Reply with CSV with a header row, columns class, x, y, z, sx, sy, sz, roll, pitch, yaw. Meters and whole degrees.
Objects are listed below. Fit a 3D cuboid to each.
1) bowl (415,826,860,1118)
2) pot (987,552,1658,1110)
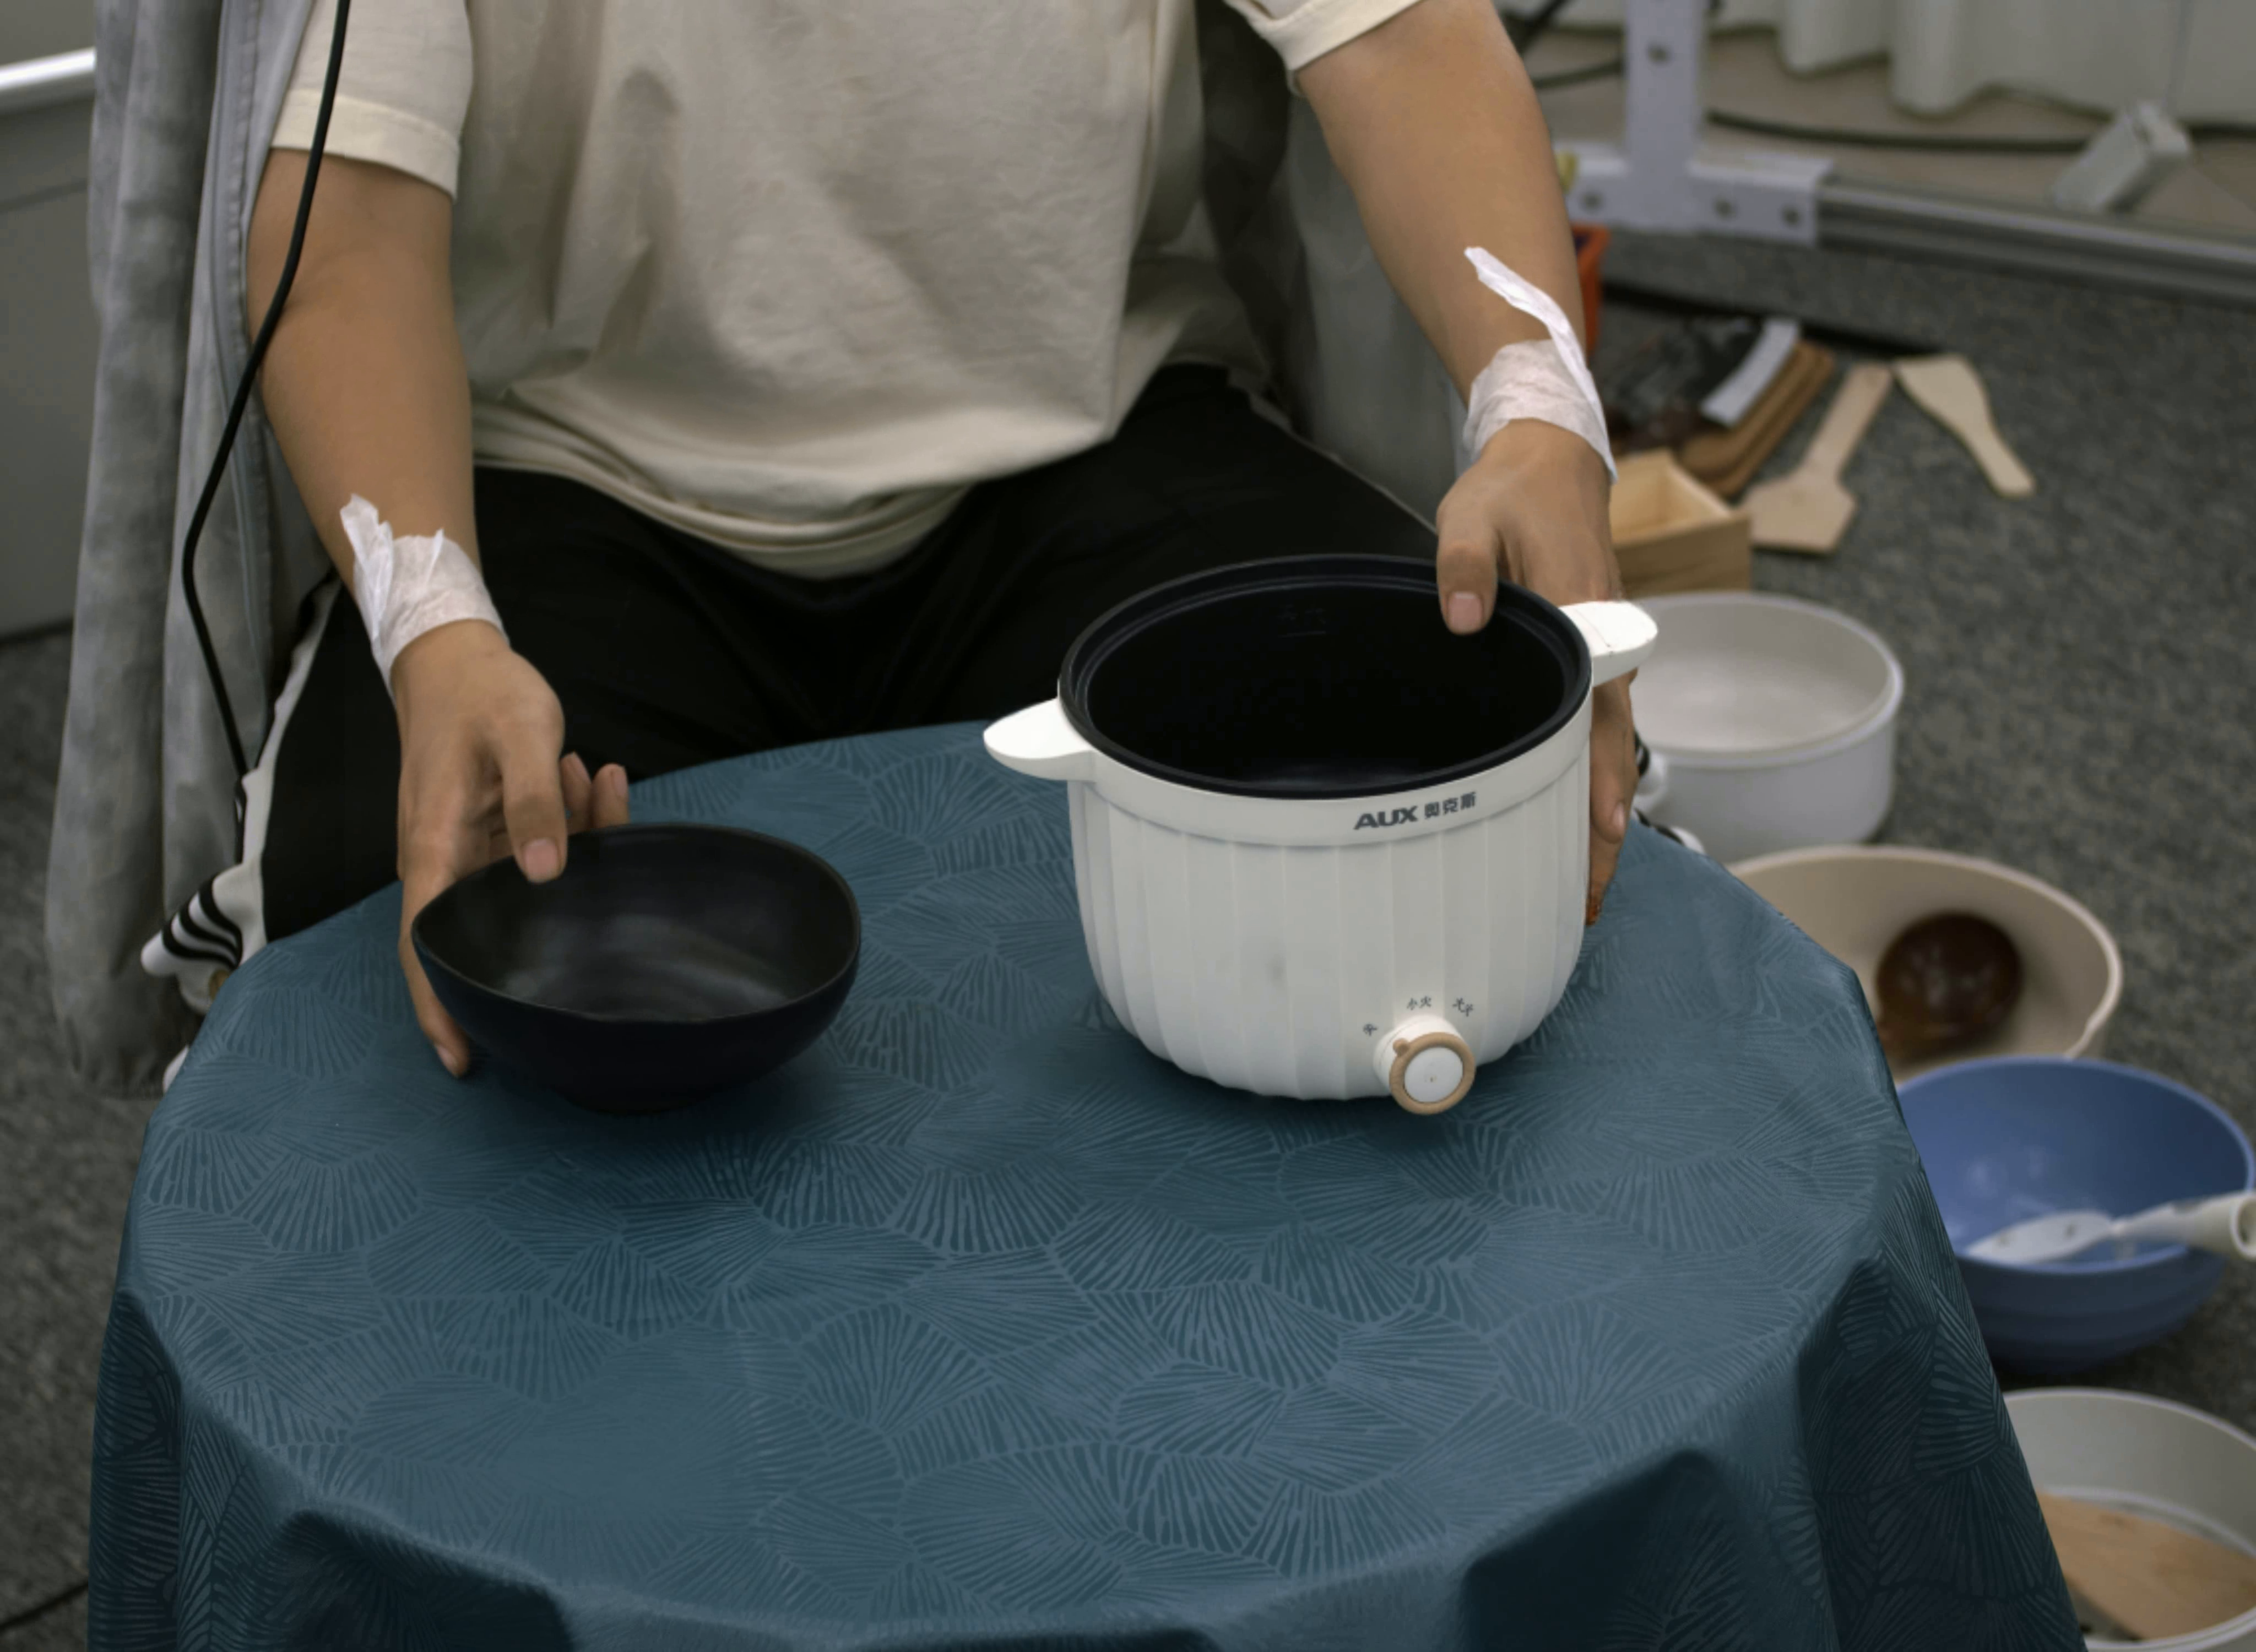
class,x,y,z,sx,sy,sz,roll,pitch,yaw
bowl,-0.168,0.058,1.932,0.169,0.066,0.139,15,31,32
pot,0.073,0.006,1.927,0.241,0.141,0.192,-12,24,-15
